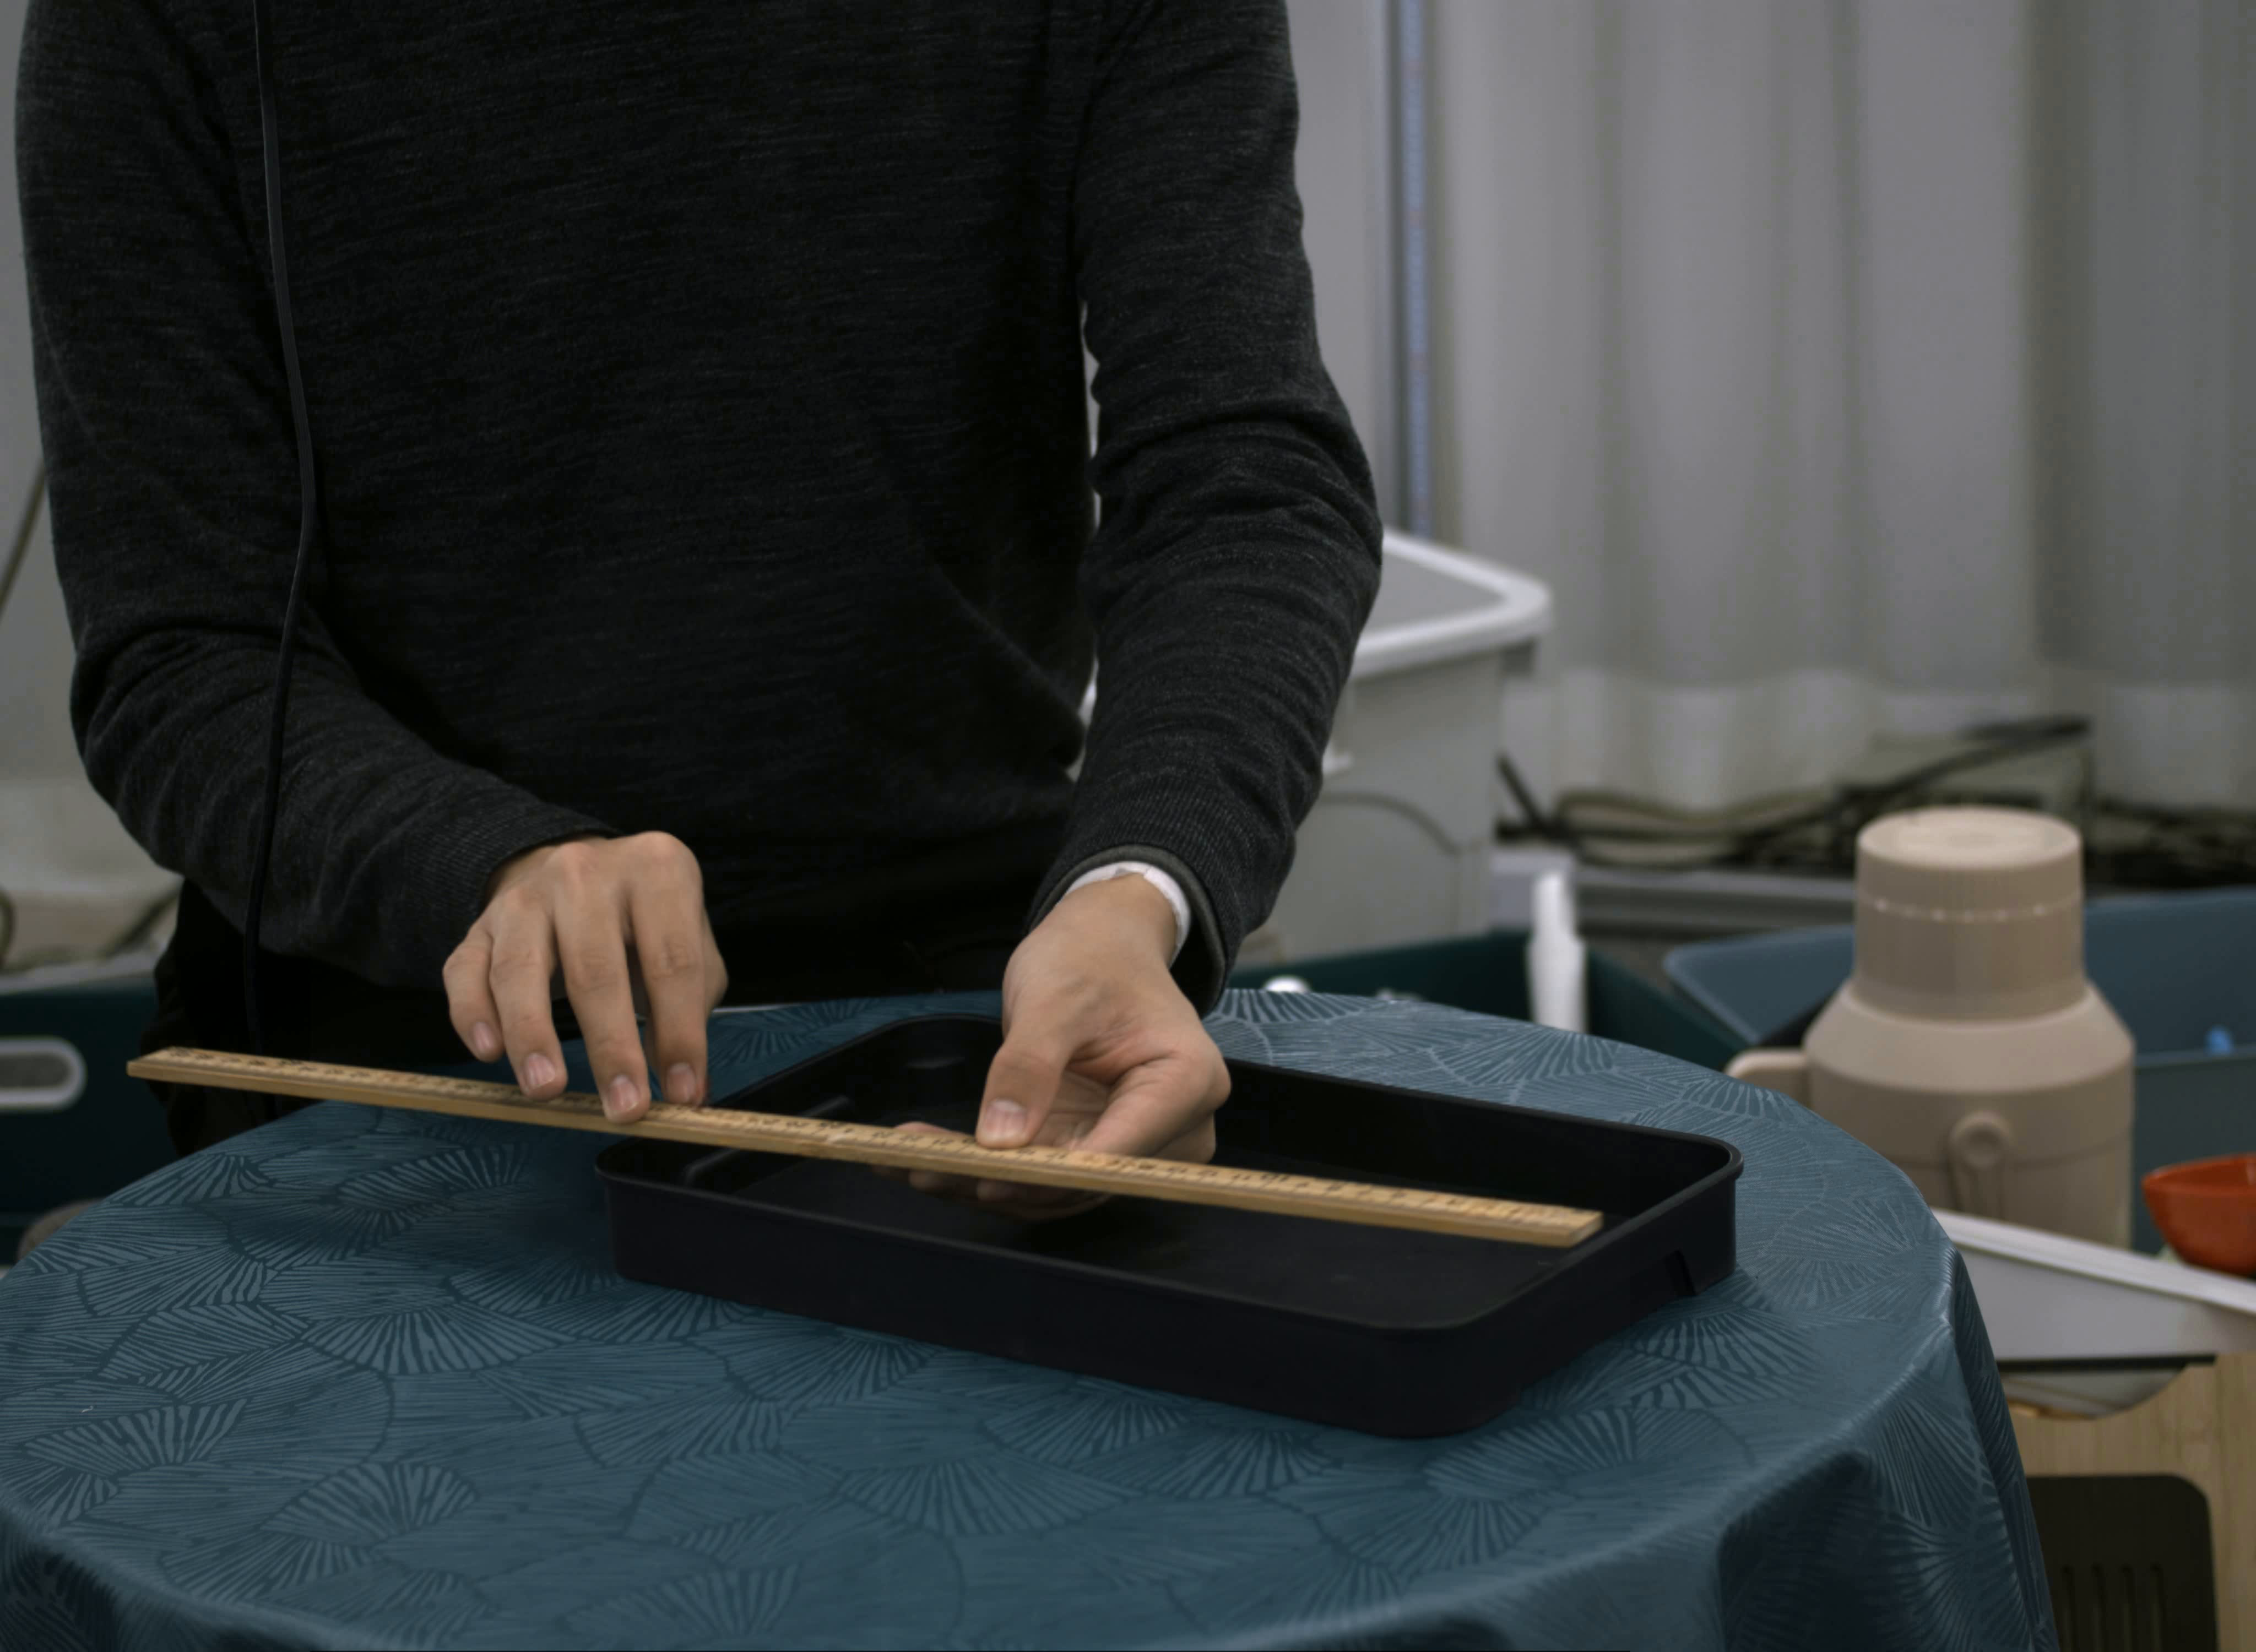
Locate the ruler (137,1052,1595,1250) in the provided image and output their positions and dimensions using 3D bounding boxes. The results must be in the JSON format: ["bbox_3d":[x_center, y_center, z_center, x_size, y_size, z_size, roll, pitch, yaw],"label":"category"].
[{"bbox_3d":[-0.092,0.094,1.632,0.501,0.006,0.027,5,10,29],"label":"ruler"}]

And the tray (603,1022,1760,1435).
[{"bbox_3d":[0.015,0.116,1.638,0.319,0.037,0.184,7,17,34],"label":"tray"}]
